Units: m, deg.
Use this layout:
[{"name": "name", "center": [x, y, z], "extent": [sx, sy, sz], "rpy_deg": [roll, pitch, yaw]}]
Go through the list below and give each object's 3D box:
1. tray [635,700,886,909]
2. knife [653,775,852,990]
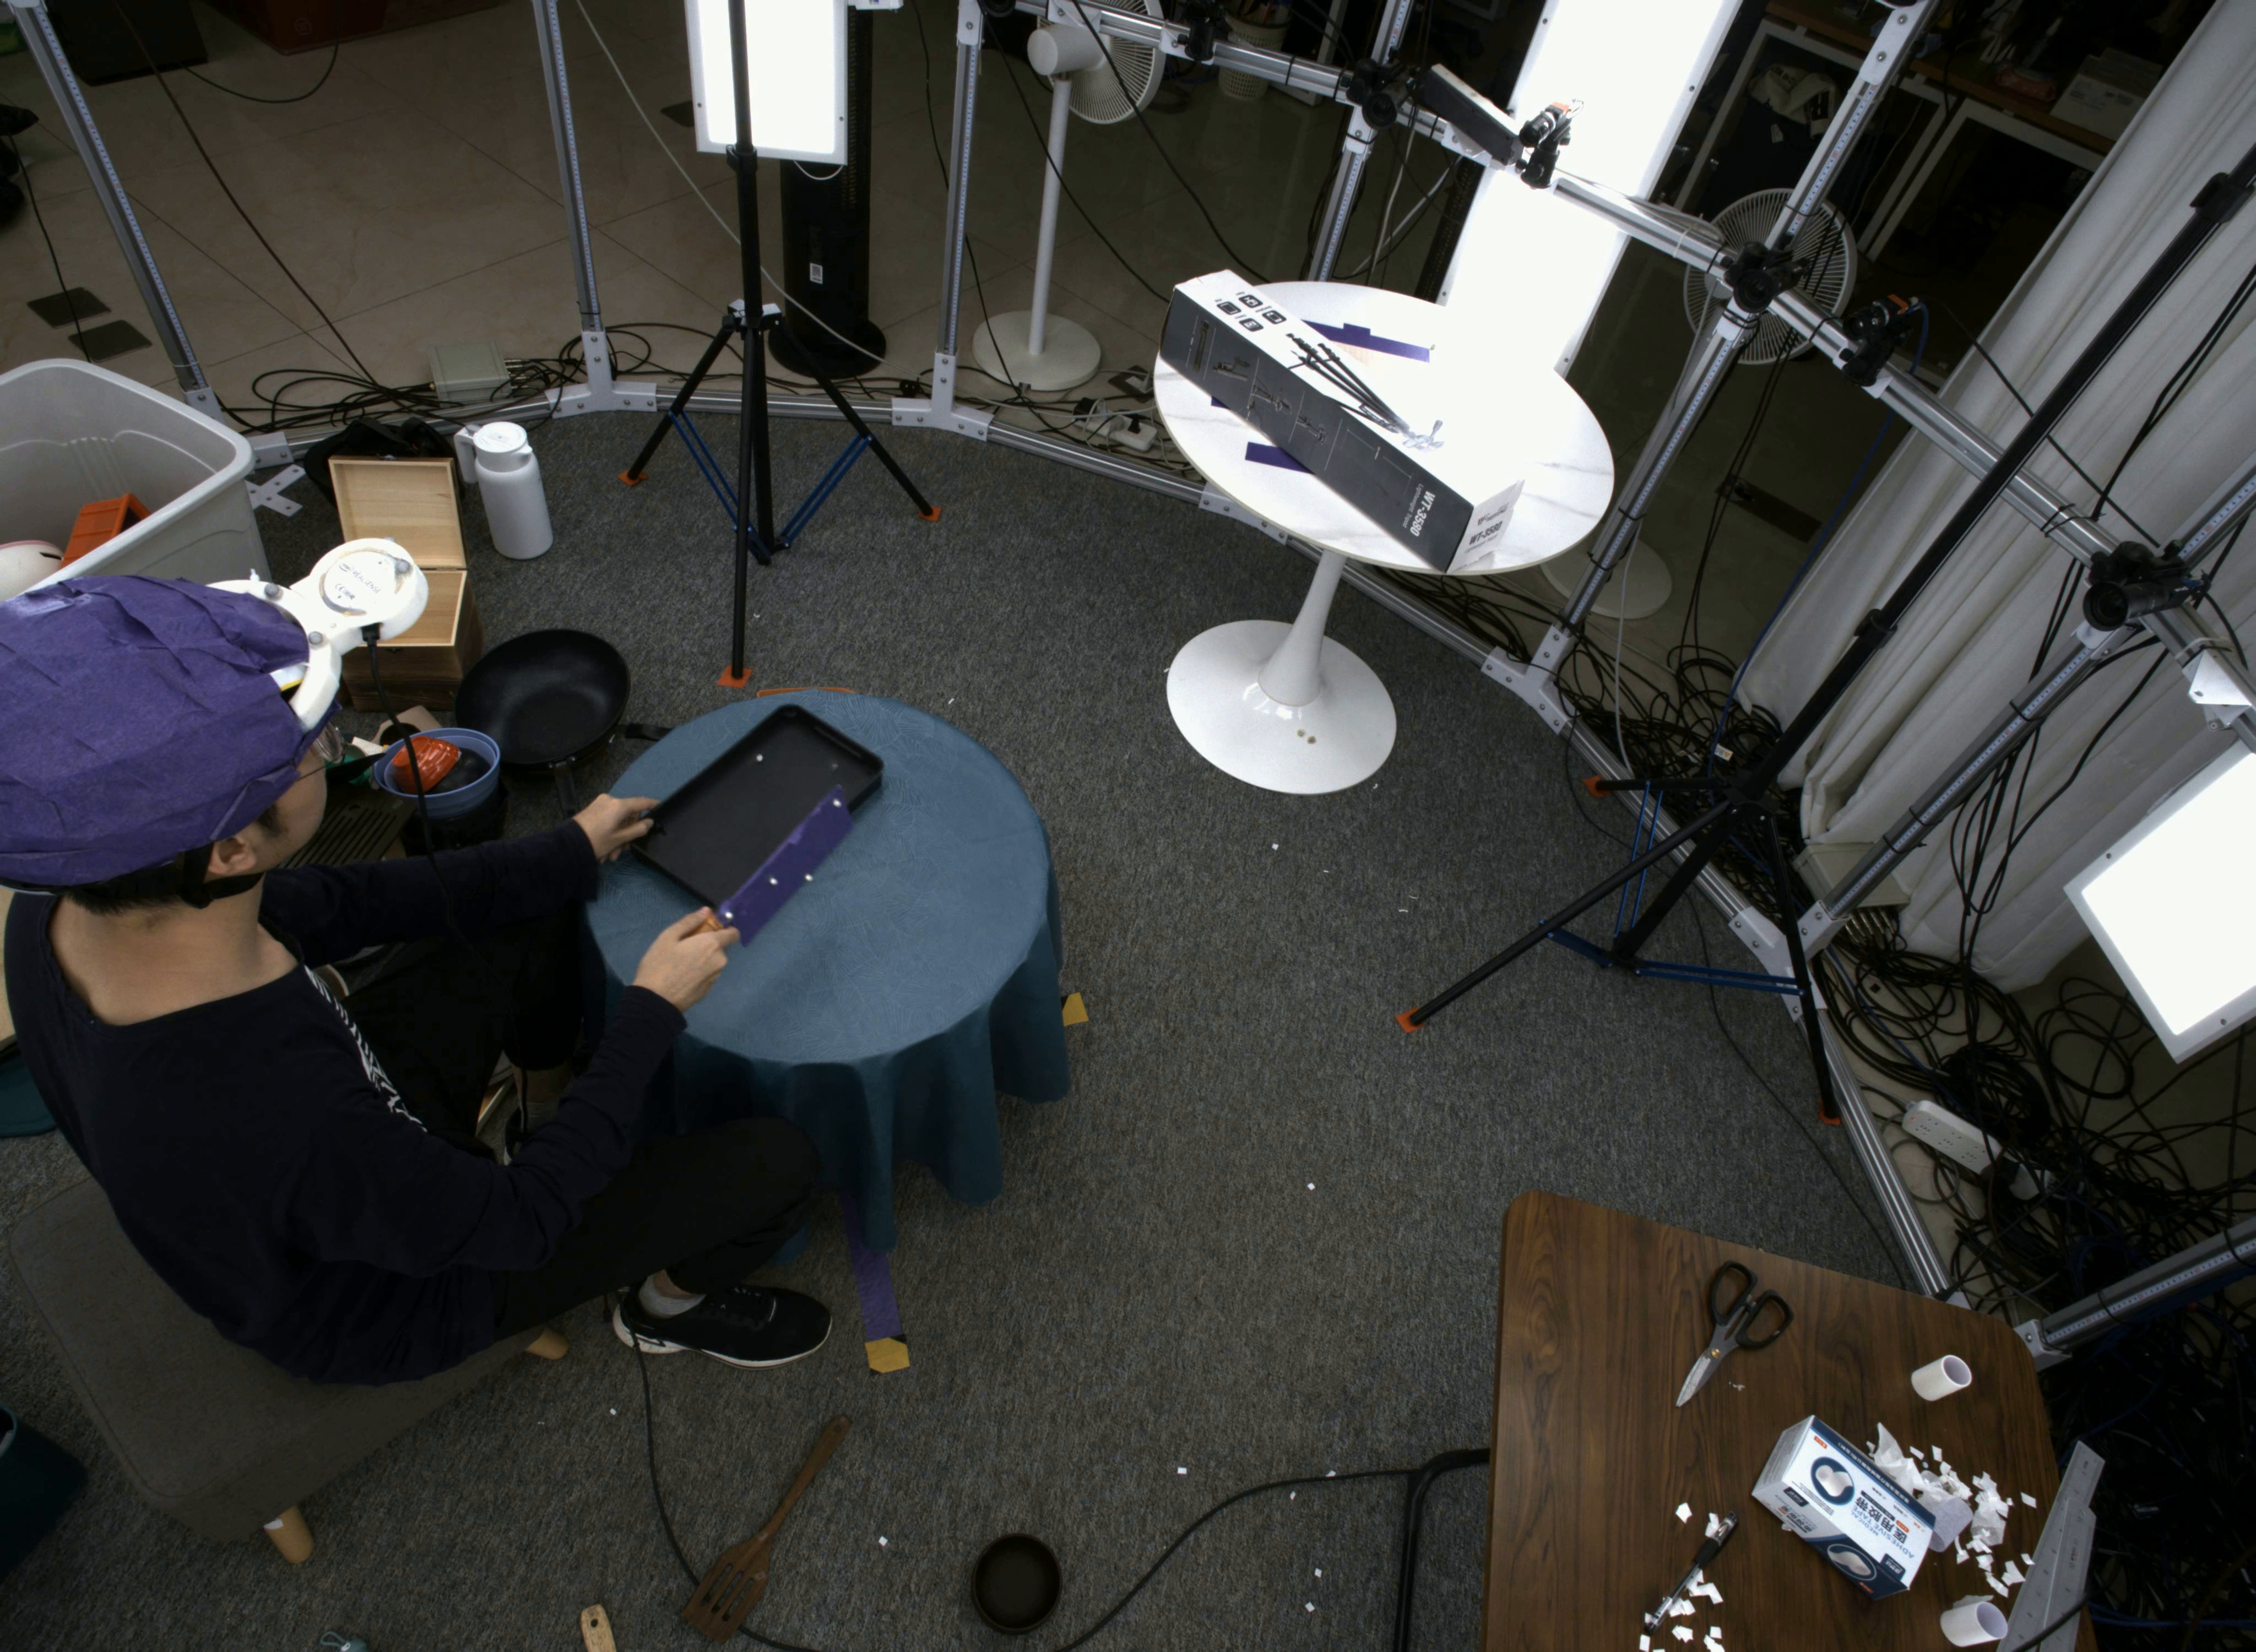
[{"name": "tray", "center": [-0.482, -0.026, 1.716], "extent": [0.181, 0.038, 0.317], "rpy_deg": [32, 54, 8]}, {"name": "knife", "center": [-0.425, 0.077, 1.506], "extent": [0.031, 0.107, 0.314], "rpy_deg": [27, 60, 20]}]
